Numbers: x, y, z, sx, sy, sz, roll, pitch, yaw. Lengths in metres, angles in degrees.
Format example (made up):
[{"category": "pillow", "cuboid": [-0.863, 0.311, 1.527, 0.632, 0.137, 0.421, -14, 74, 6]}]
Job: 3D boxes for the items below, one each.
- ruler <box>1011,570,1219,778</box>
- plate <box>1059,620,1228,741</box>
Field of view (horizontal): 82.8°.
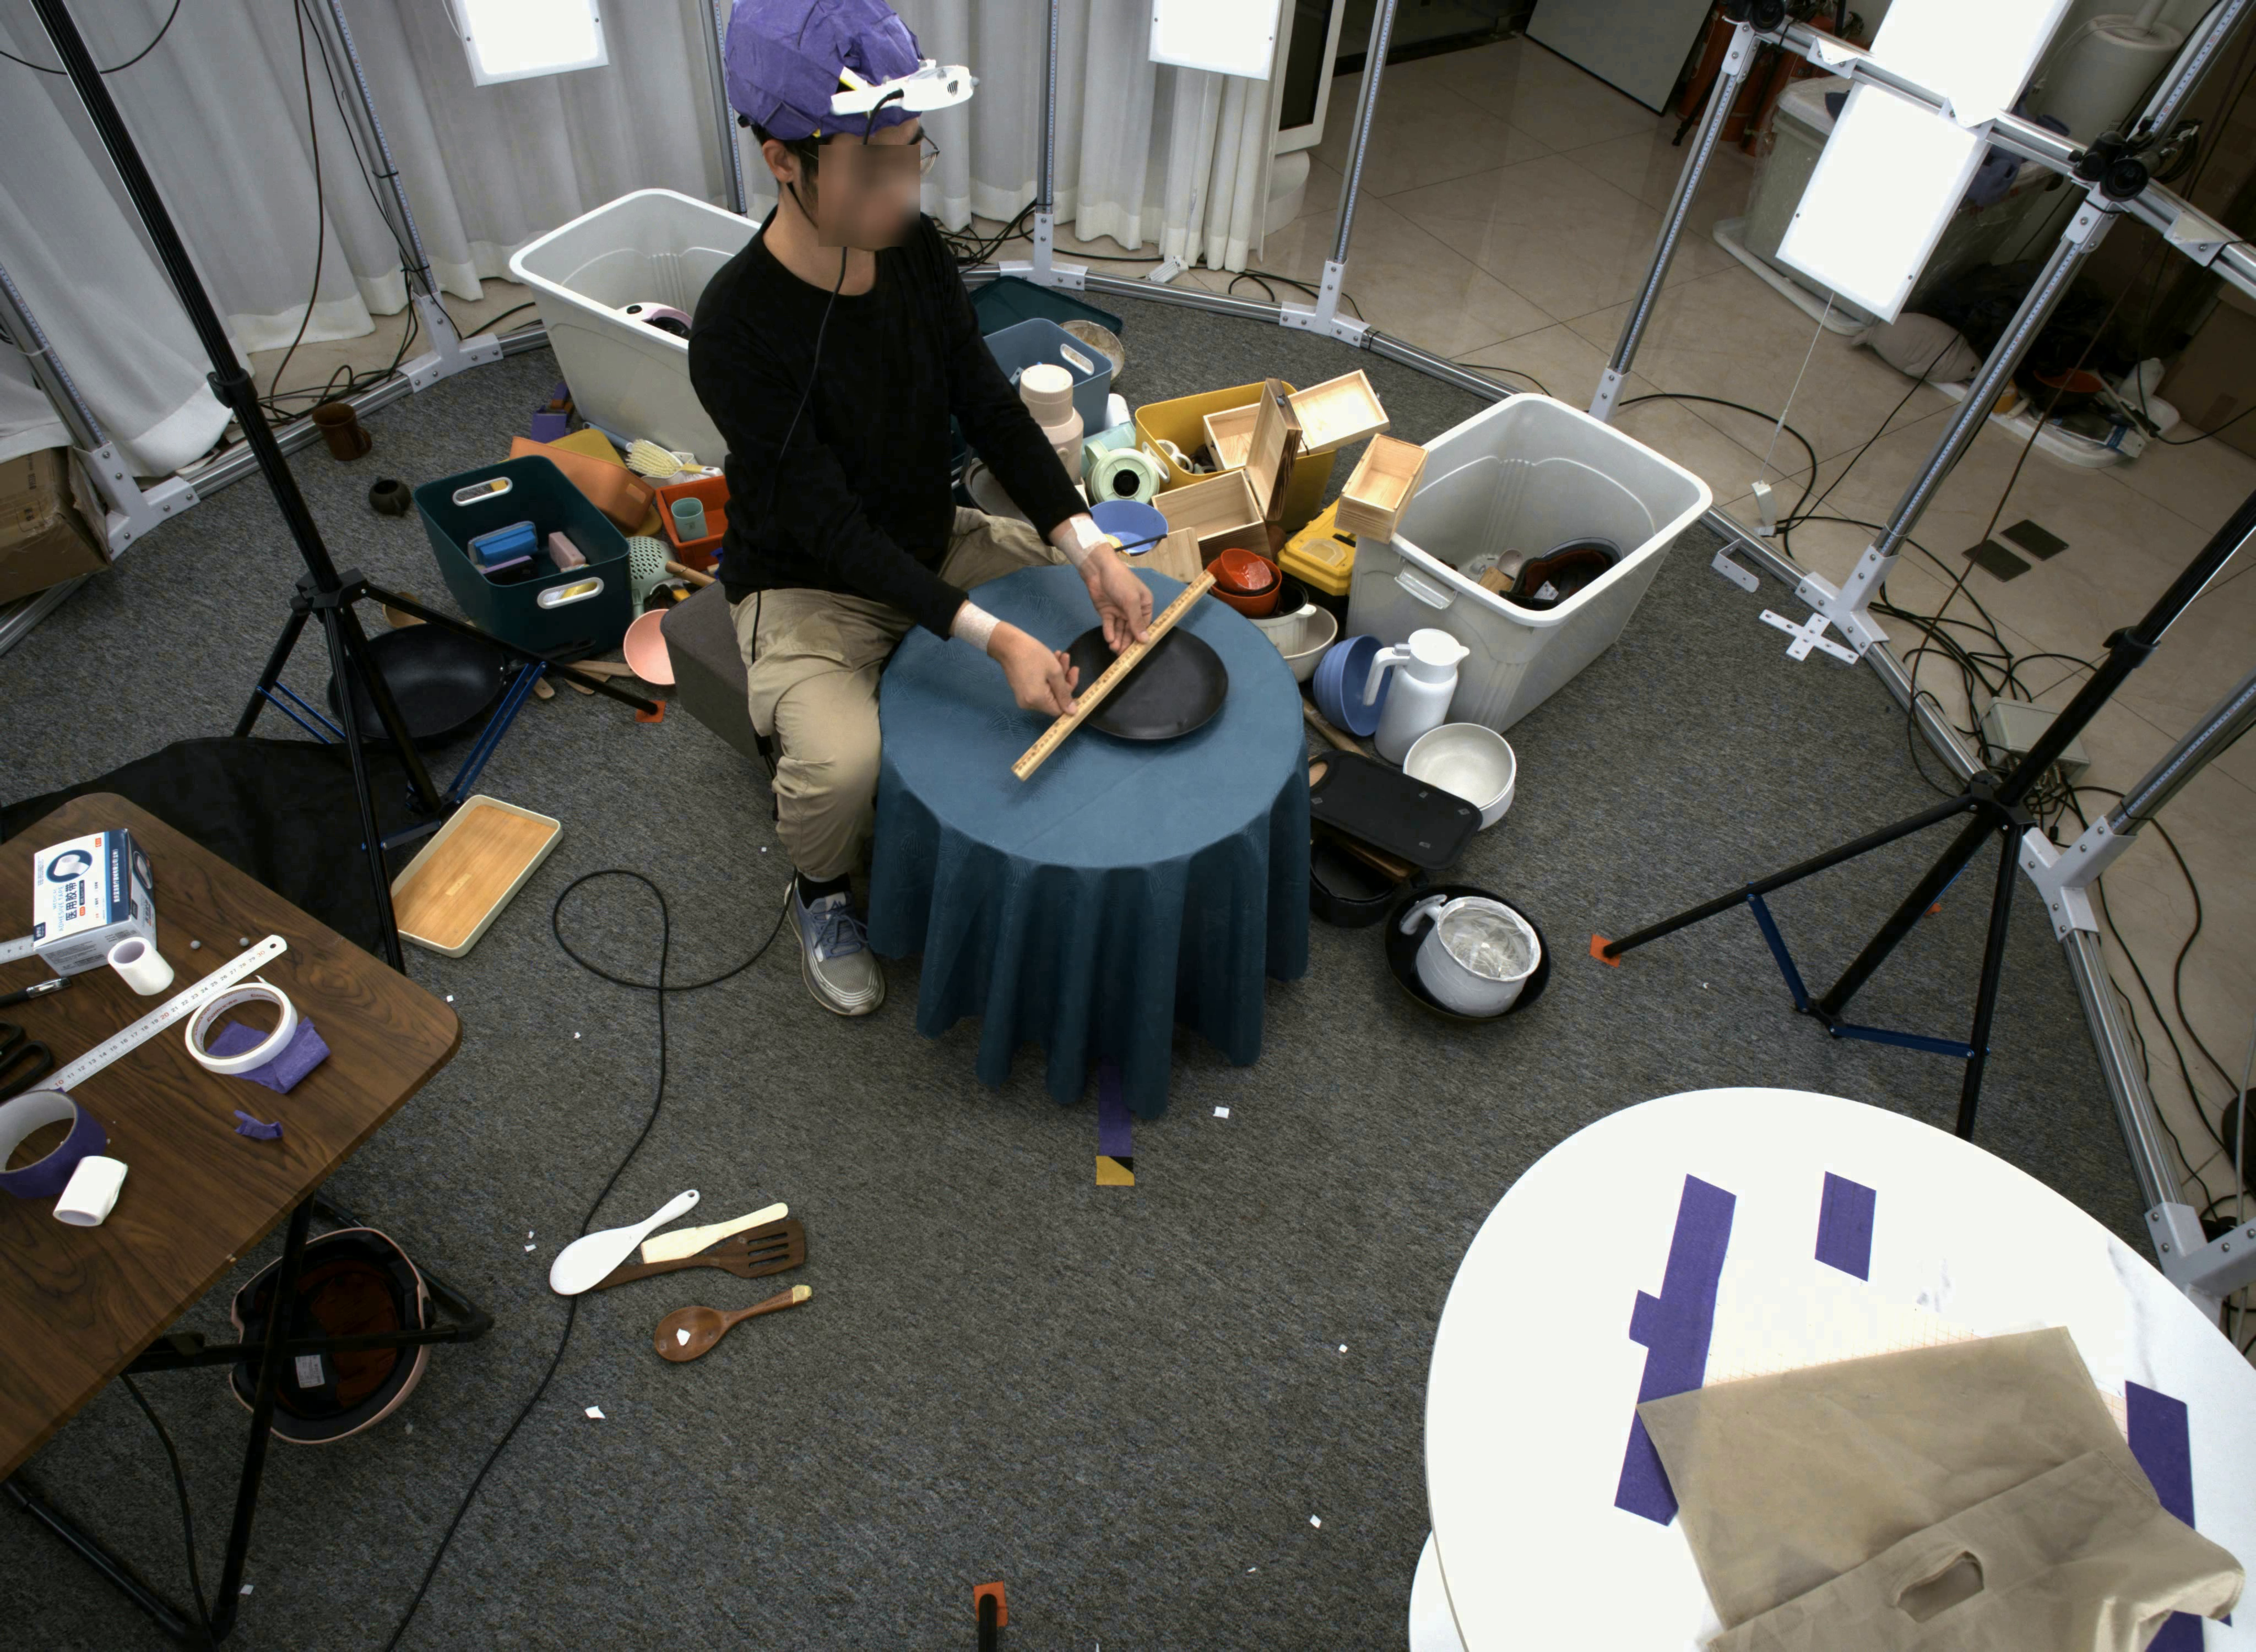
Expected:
[{"category": "ruler", "cuboid": [-0.008, -0.228, 1.819, 0.027, 0.006, 0.507, 44, 55, -3]}, {"category": "plate", "cuboid": [0.022, -0.206, 1.835, 0.244, 0.023, 0.250, 2, 49, -2]}]
